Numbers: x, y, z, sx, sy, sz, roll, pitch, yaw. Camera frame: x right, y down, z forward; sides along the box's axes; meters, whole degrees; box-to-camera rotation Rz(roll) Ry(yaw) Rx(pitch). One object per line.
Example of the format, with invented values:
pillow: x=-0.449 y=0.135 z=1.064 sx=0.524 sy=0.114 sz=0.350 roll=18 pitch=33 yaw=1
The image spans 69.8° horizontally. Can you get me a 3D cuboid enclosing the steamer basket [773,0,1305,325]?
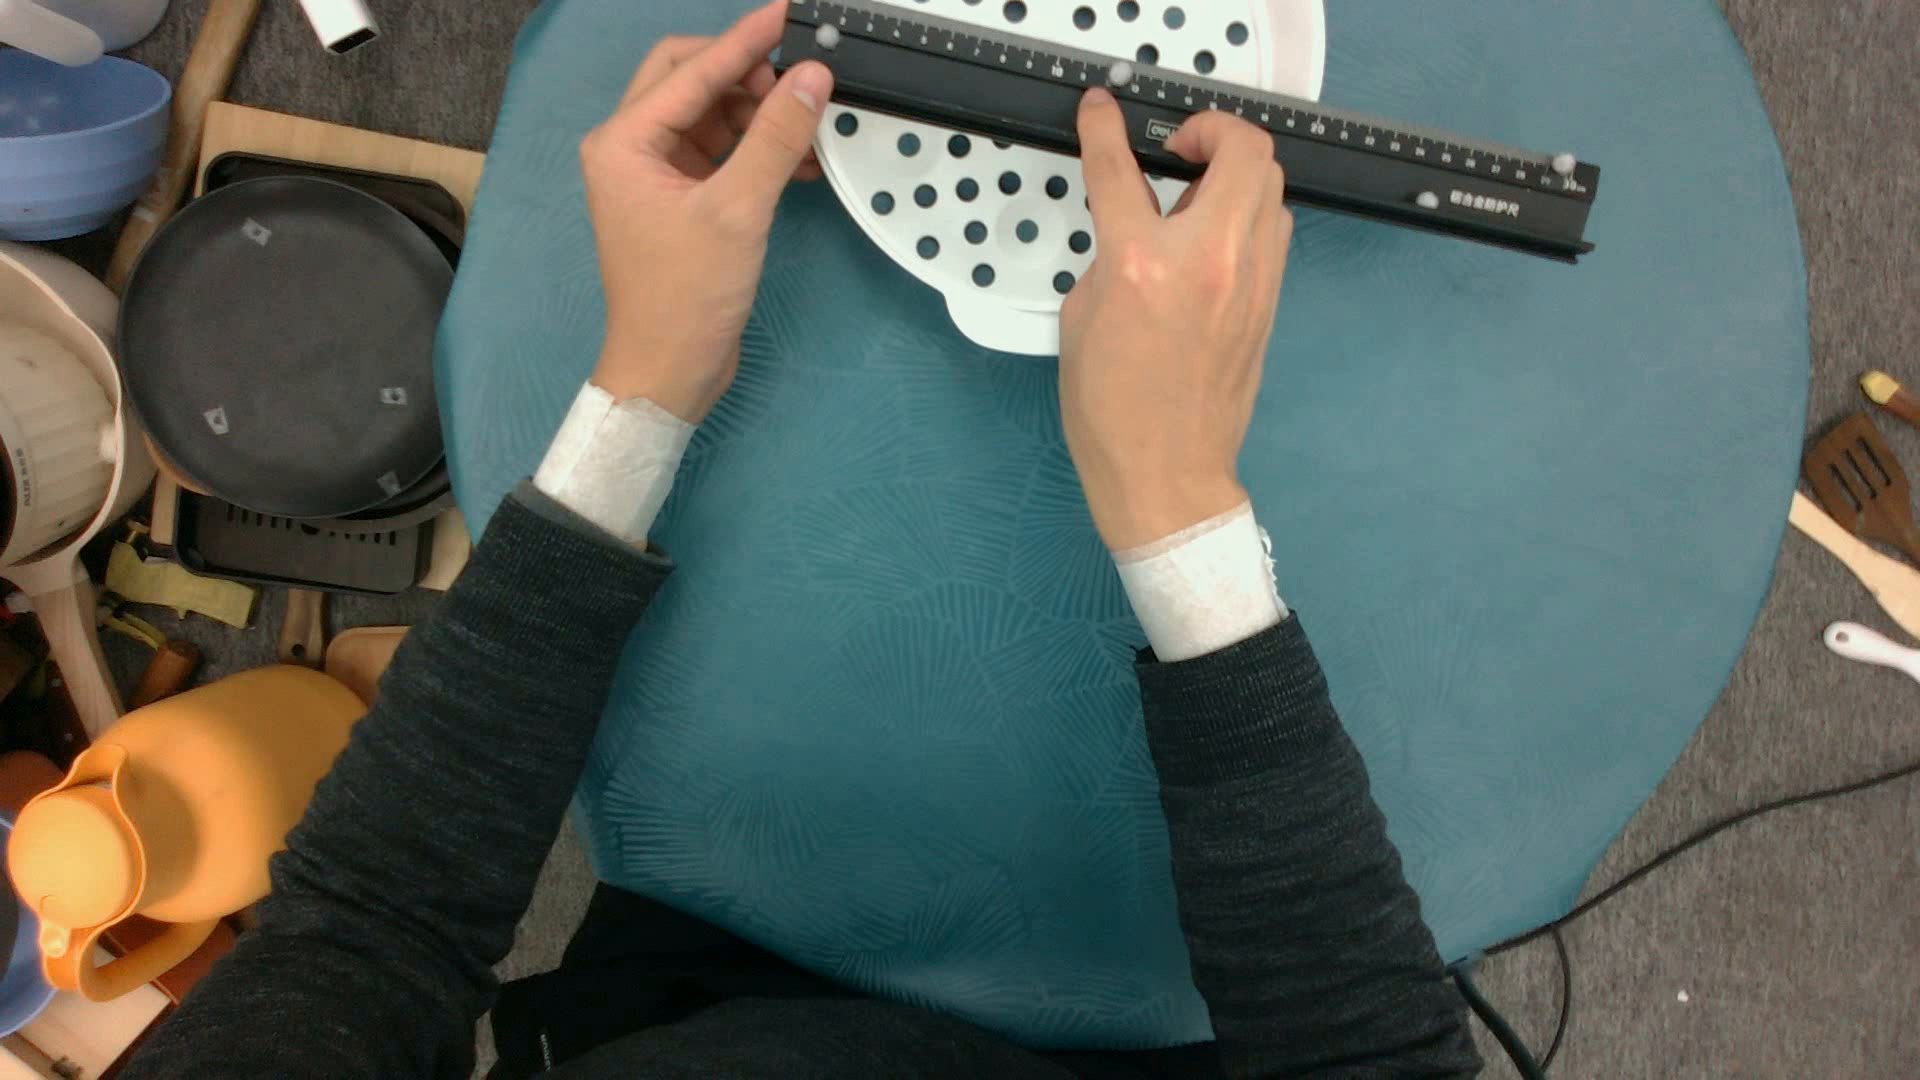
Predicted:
steamer basket: x=0.029 y=-0.199 z=0.544 sx=0.202 sy=0.069 sz=0.230 roll=3 pitch=94 yaw=-5

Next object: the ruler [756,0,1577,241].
ruler: x=0.081 y=-0.160 z=0.509 sx=0.312 sy=0.017 sz=0.039 roll=11 pitch=98 yaw=-5
